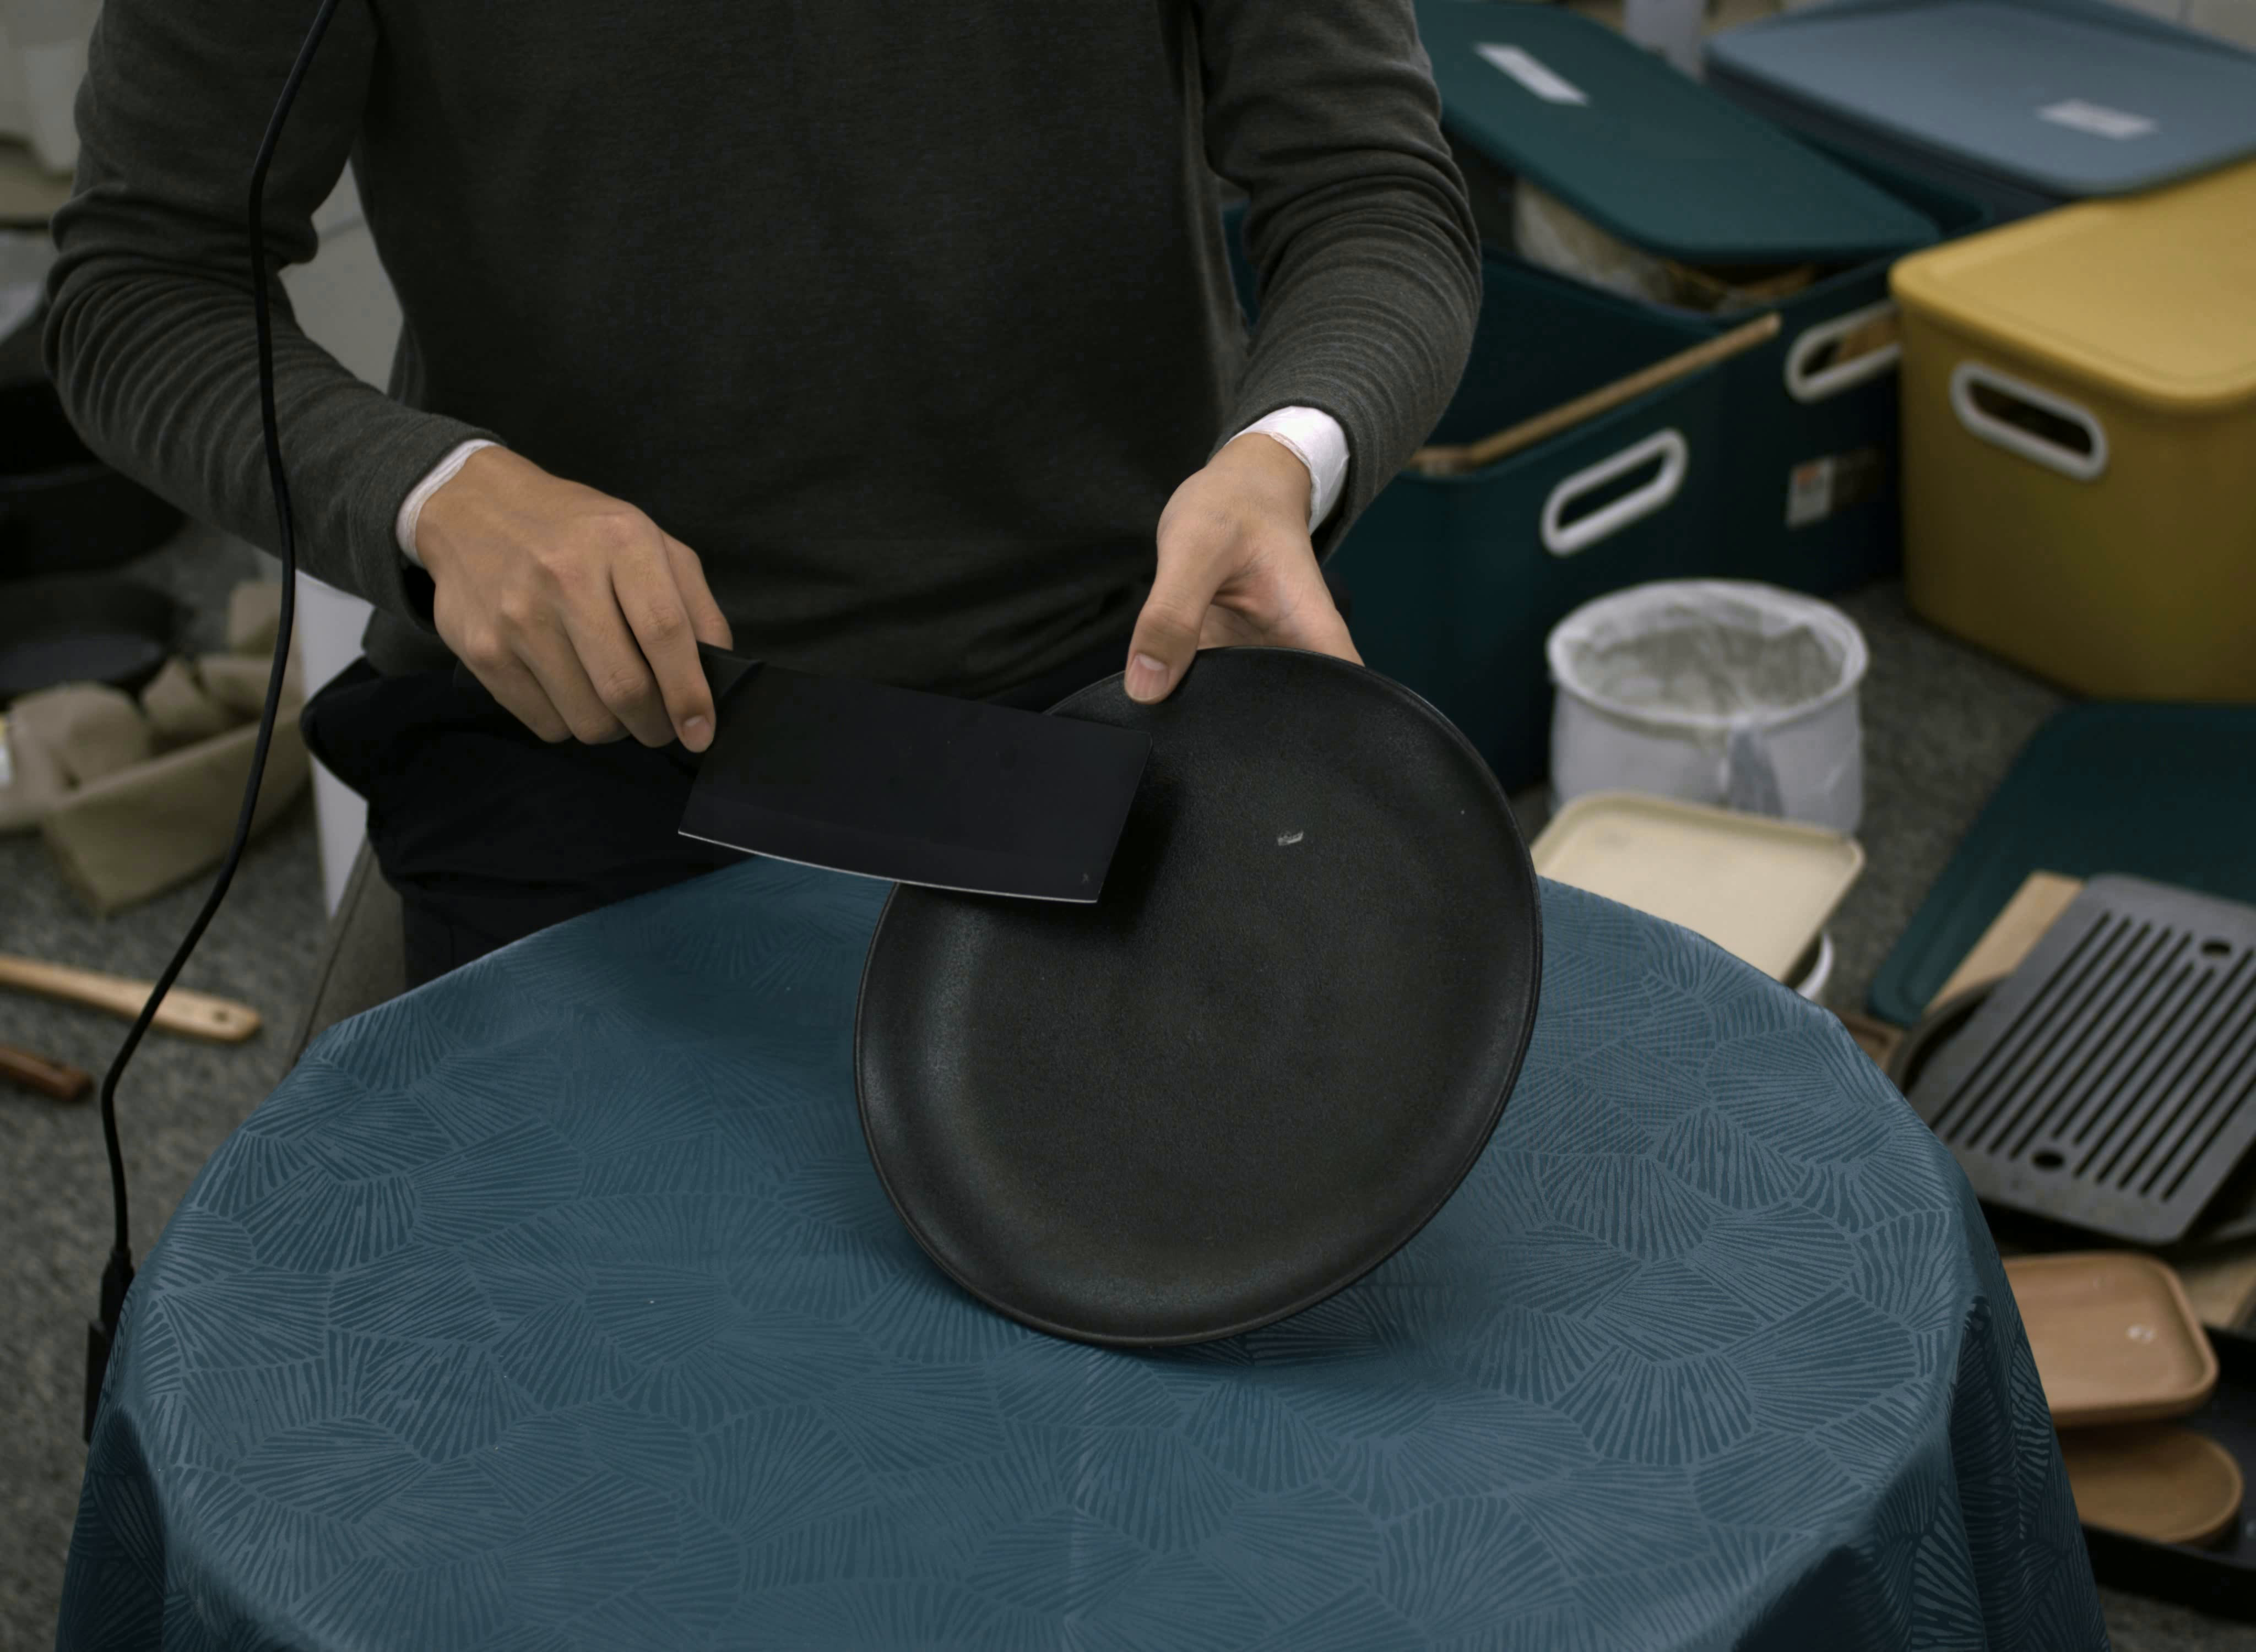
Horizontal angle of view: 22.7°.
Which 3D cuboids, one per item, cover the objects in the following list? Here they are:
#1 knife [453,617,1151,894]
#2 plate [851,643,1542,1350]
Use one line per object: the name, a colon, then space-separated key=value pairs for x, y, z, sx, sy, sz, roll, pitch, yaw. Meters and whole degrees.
knife: x=-0.118 y=-0.028 z=1.926 sx=0.301 sy=0.082 sz=0.021 roll=15 pitch=-14 yaw=37
plate: x=0.023 y=0.056 z=1.824 sx=0.242 sy=0.023 sz=0.249 roll=-10 pitch=62 yaw=21
